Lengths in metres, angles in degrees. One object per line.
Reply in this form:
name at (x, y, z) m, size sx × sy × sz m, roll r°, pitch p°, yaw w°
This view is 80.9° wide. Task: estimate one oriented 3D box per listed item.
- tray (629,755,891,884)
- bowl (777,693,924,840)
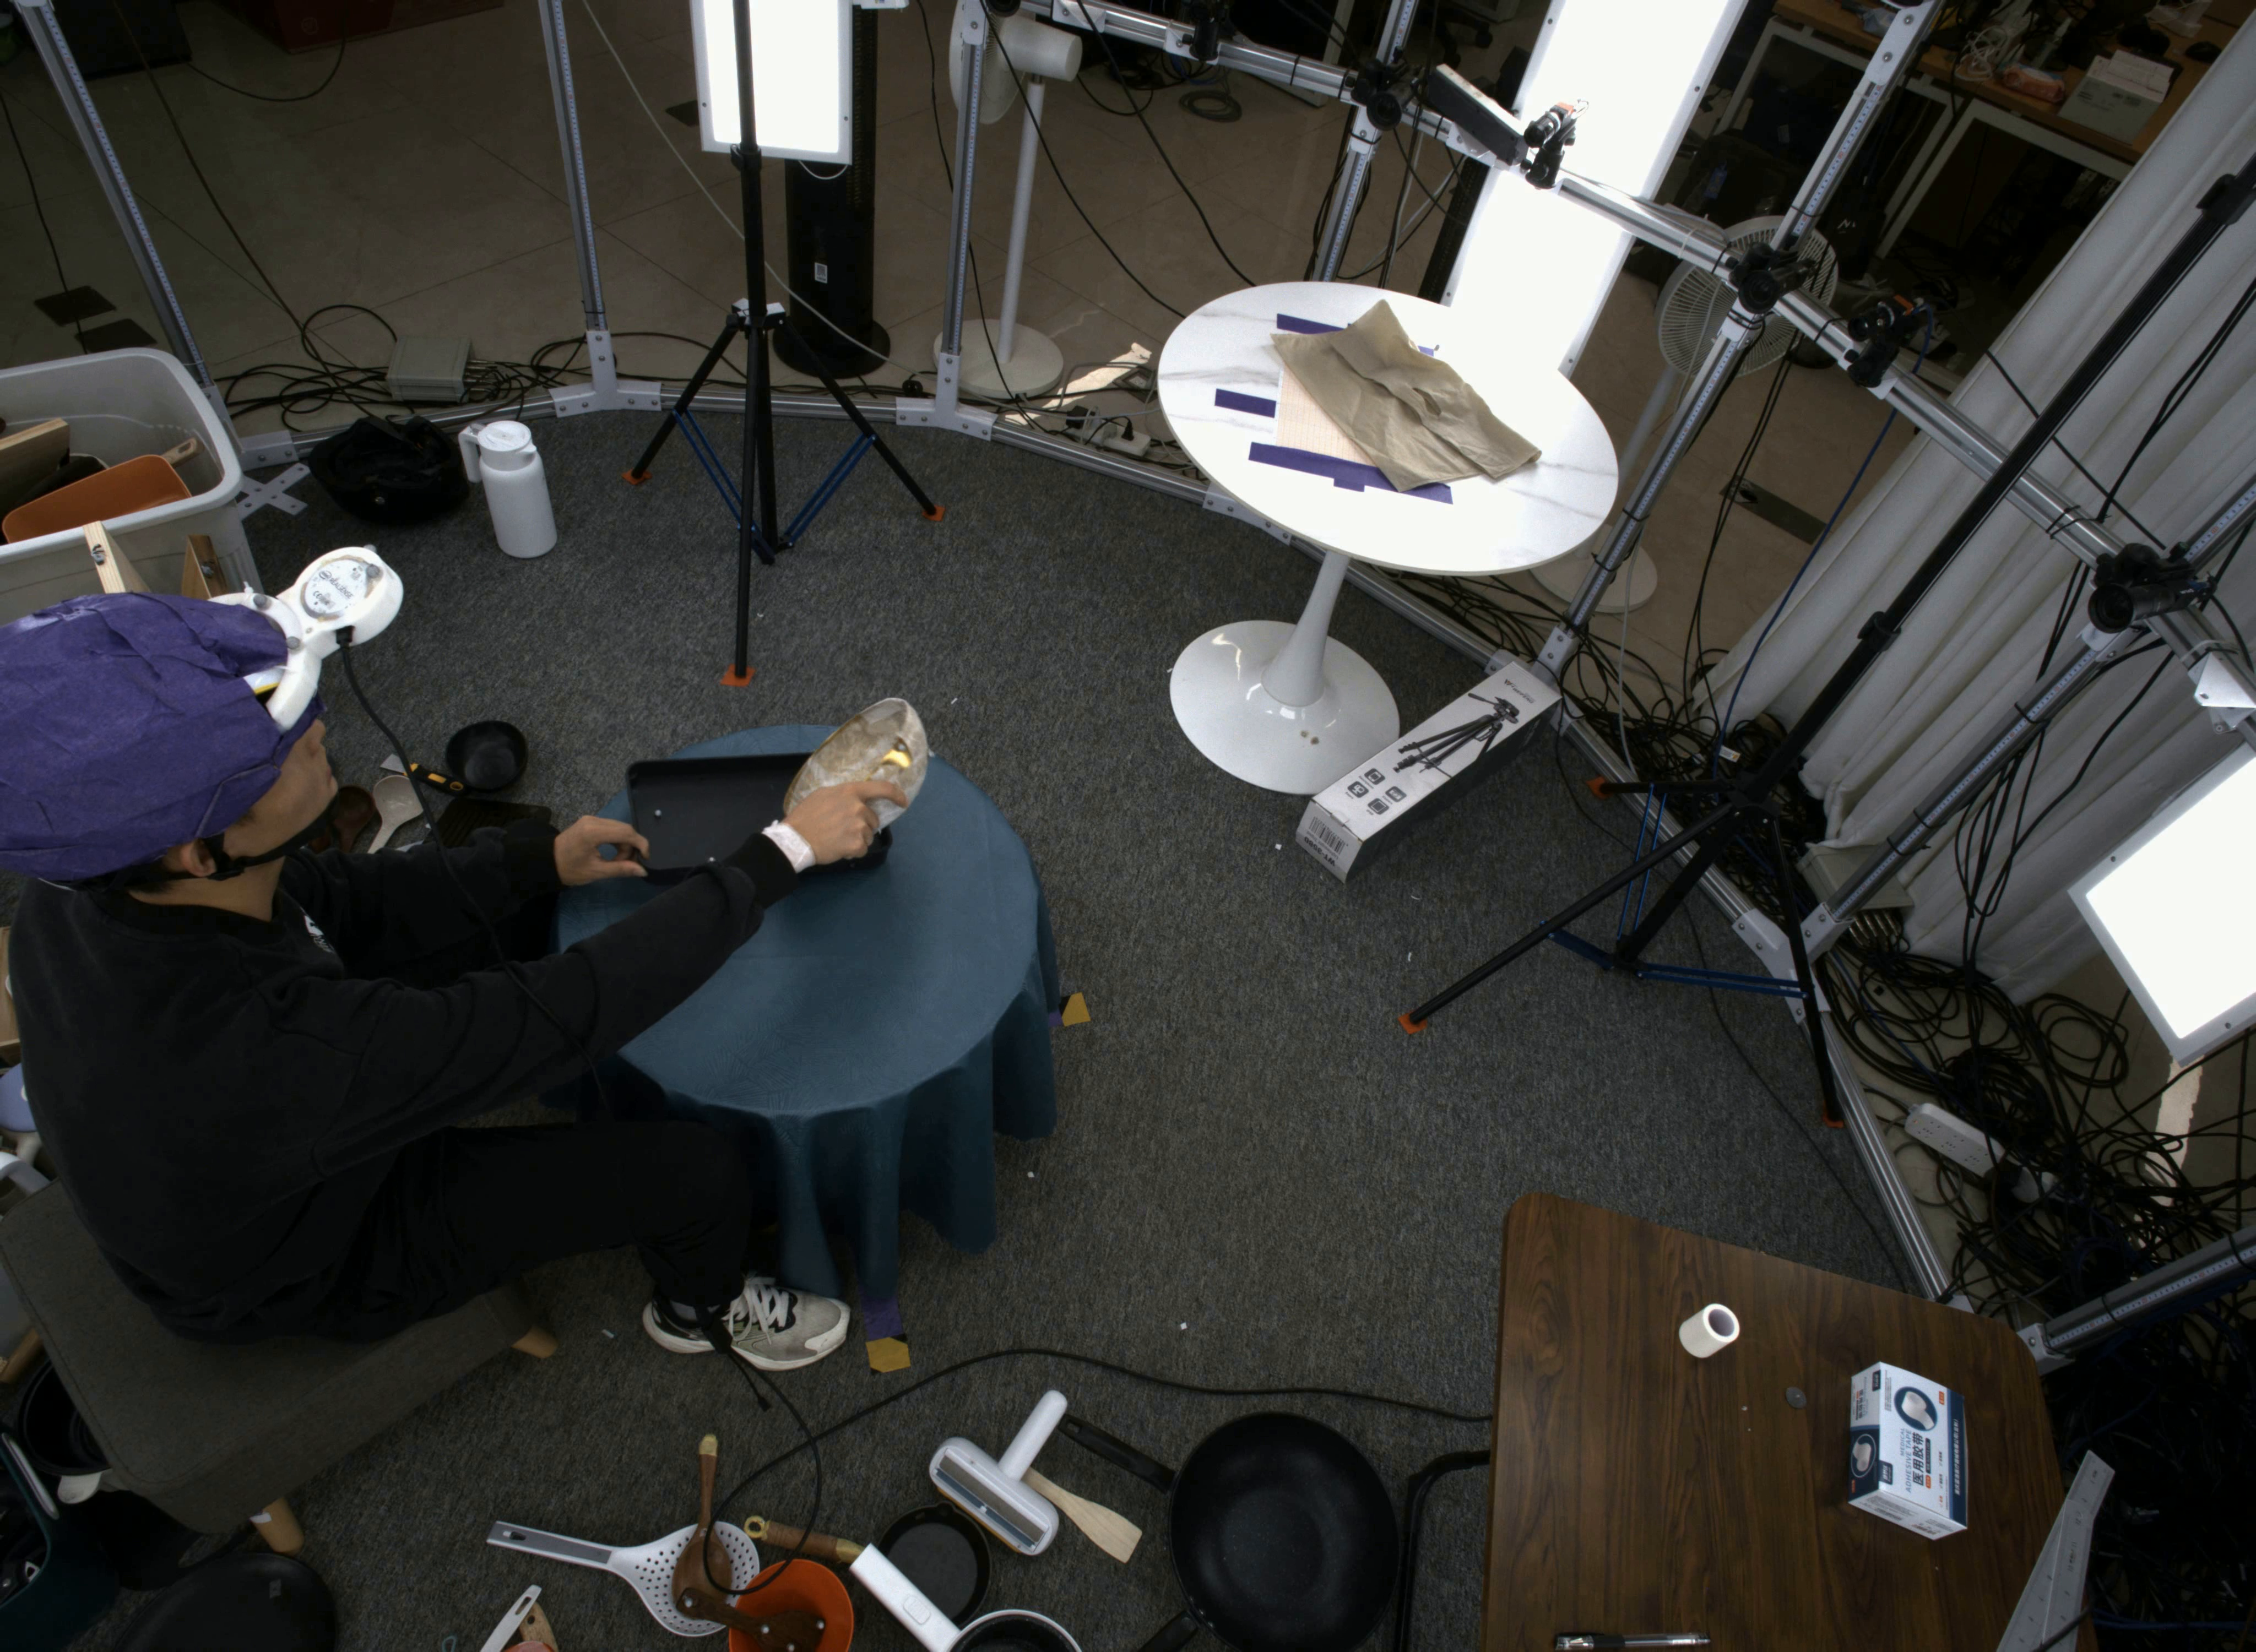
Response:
tray at (-0.478, -0.014, 1.675) m, size 0.321 × 0.037 × 0.179 m, roll -2°, pitch 51°, yaw -27°
bowl at (-0.323, -0.055, 1.590) m, size 0.098 × 0.210 × 0.212 m, roll 47°, pitch 42°, yaw -30°
